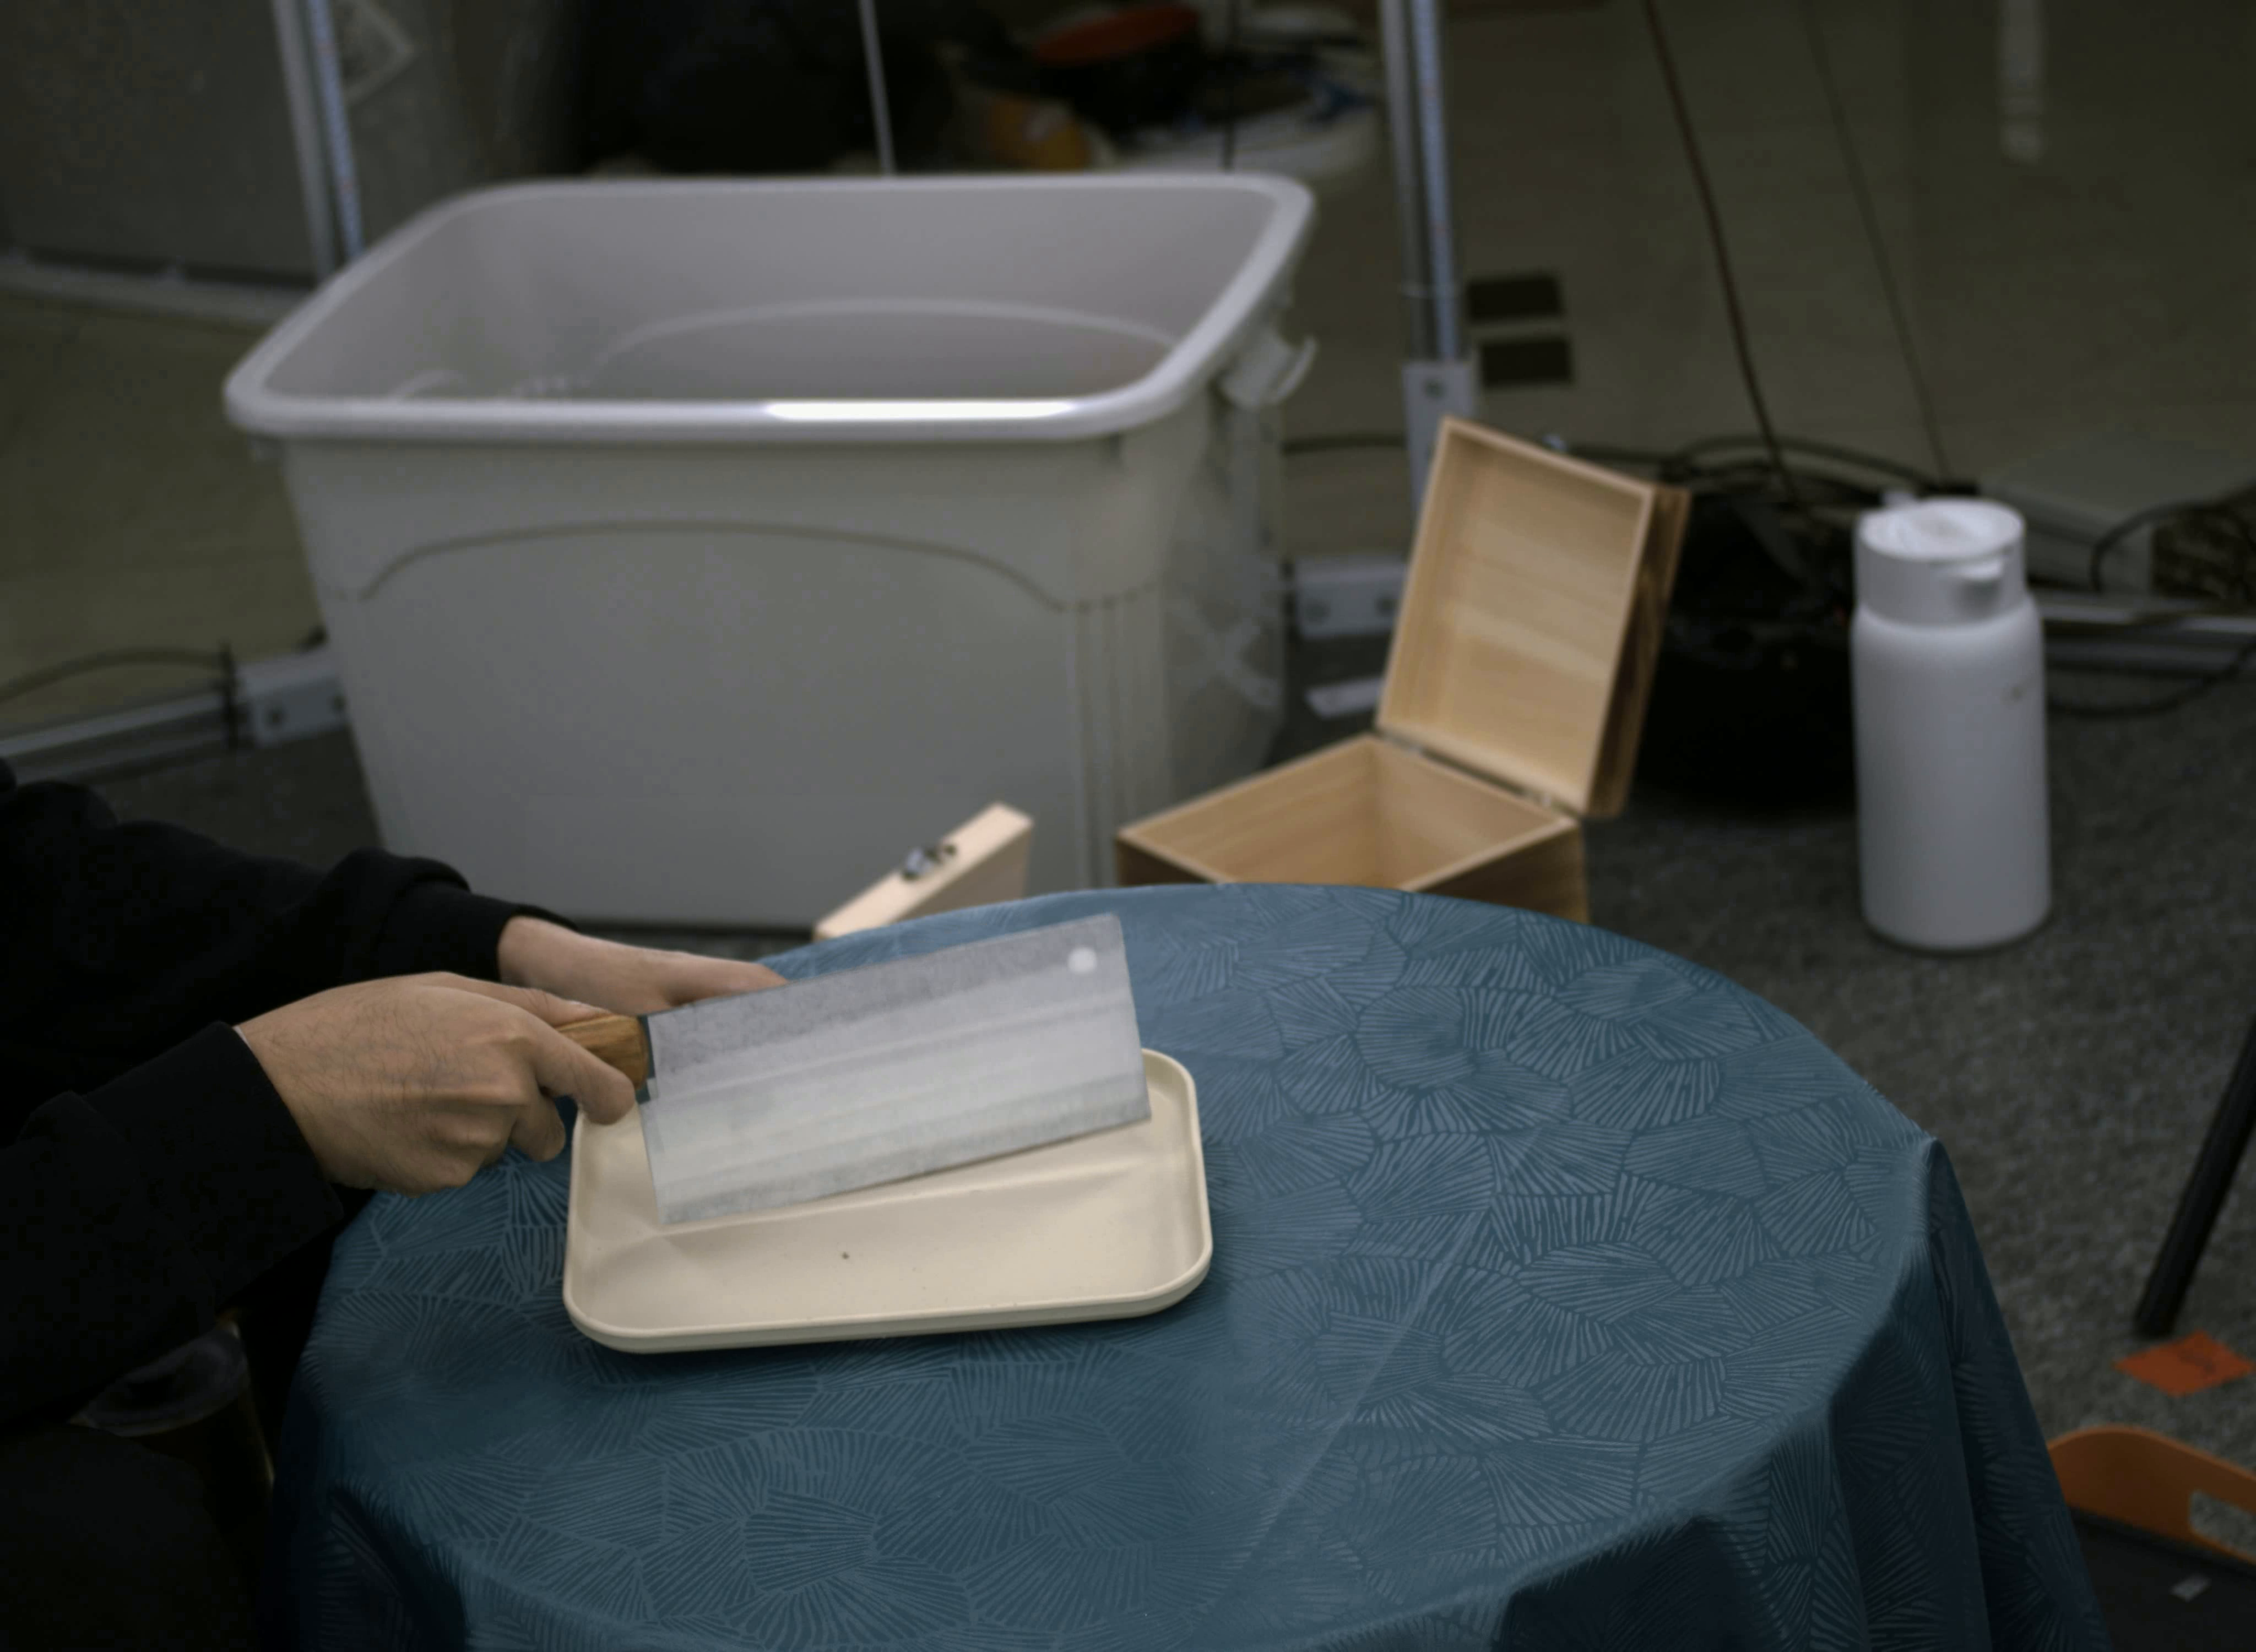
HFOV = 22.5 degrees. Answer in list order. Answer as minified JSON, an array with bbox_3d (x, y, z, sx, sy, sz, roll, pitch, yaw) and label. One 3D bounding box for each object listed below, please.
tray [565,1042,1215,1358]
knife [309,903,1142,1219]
[{"bbox_3d":[-0.089,0.140,2.120,0.239,0.018,0.168,-4,32,0],"label":"tray"},{"bbox_3d":[-0.146,0.099,2.098,0.305,0.094,0.020,-13,29,-5],"label":"knife"}]
